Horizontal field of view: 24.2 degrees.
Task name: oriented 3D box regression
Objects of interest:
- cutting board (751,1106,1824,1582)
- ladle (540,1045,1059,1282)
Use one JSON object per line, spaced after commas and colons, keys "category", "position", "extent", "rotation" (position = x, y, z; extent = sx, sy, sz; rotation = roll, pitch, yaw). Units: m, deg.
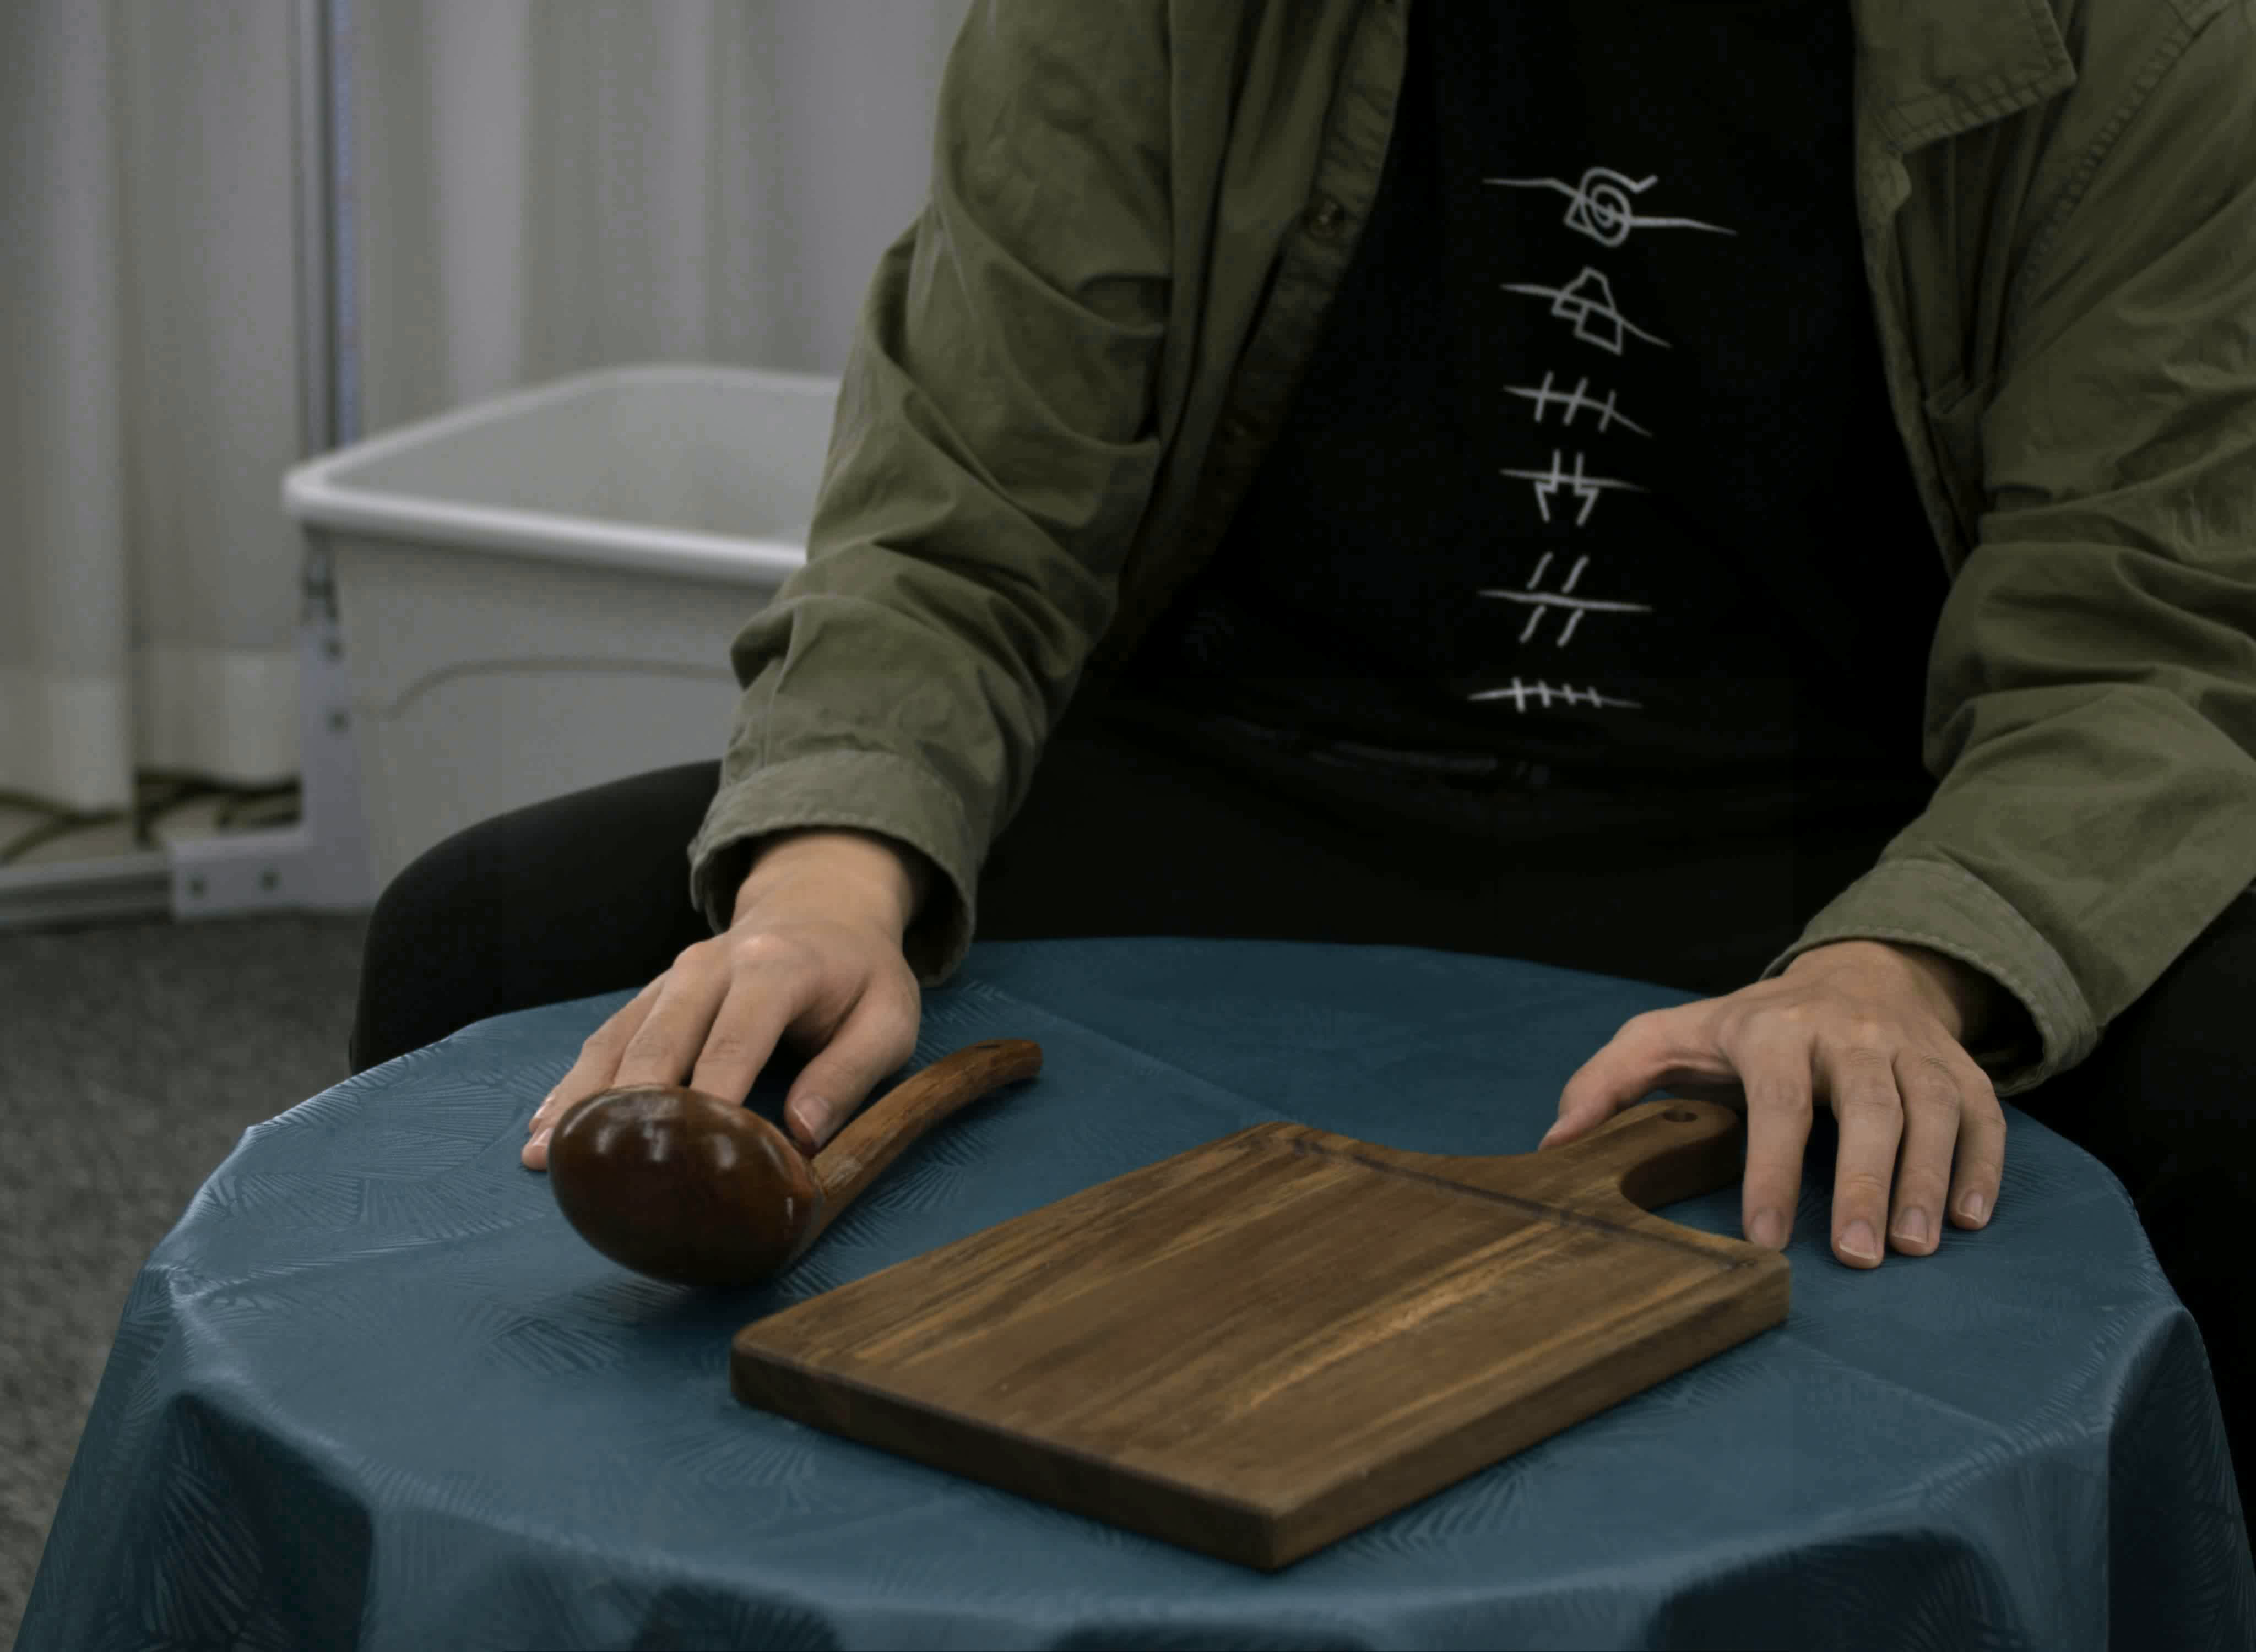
{"category": "cutting board", "position": [0.080, 0.133, 1.517], "extent": [0.198, 0.023, 0.354], "rotation": [14, 20, 39]}
{"category": "ladle", "position": [-0.090, 0.078, 1.611], "extent": [0.081, 0.077, 0.274], "rotation": [2, 14, 23]}
